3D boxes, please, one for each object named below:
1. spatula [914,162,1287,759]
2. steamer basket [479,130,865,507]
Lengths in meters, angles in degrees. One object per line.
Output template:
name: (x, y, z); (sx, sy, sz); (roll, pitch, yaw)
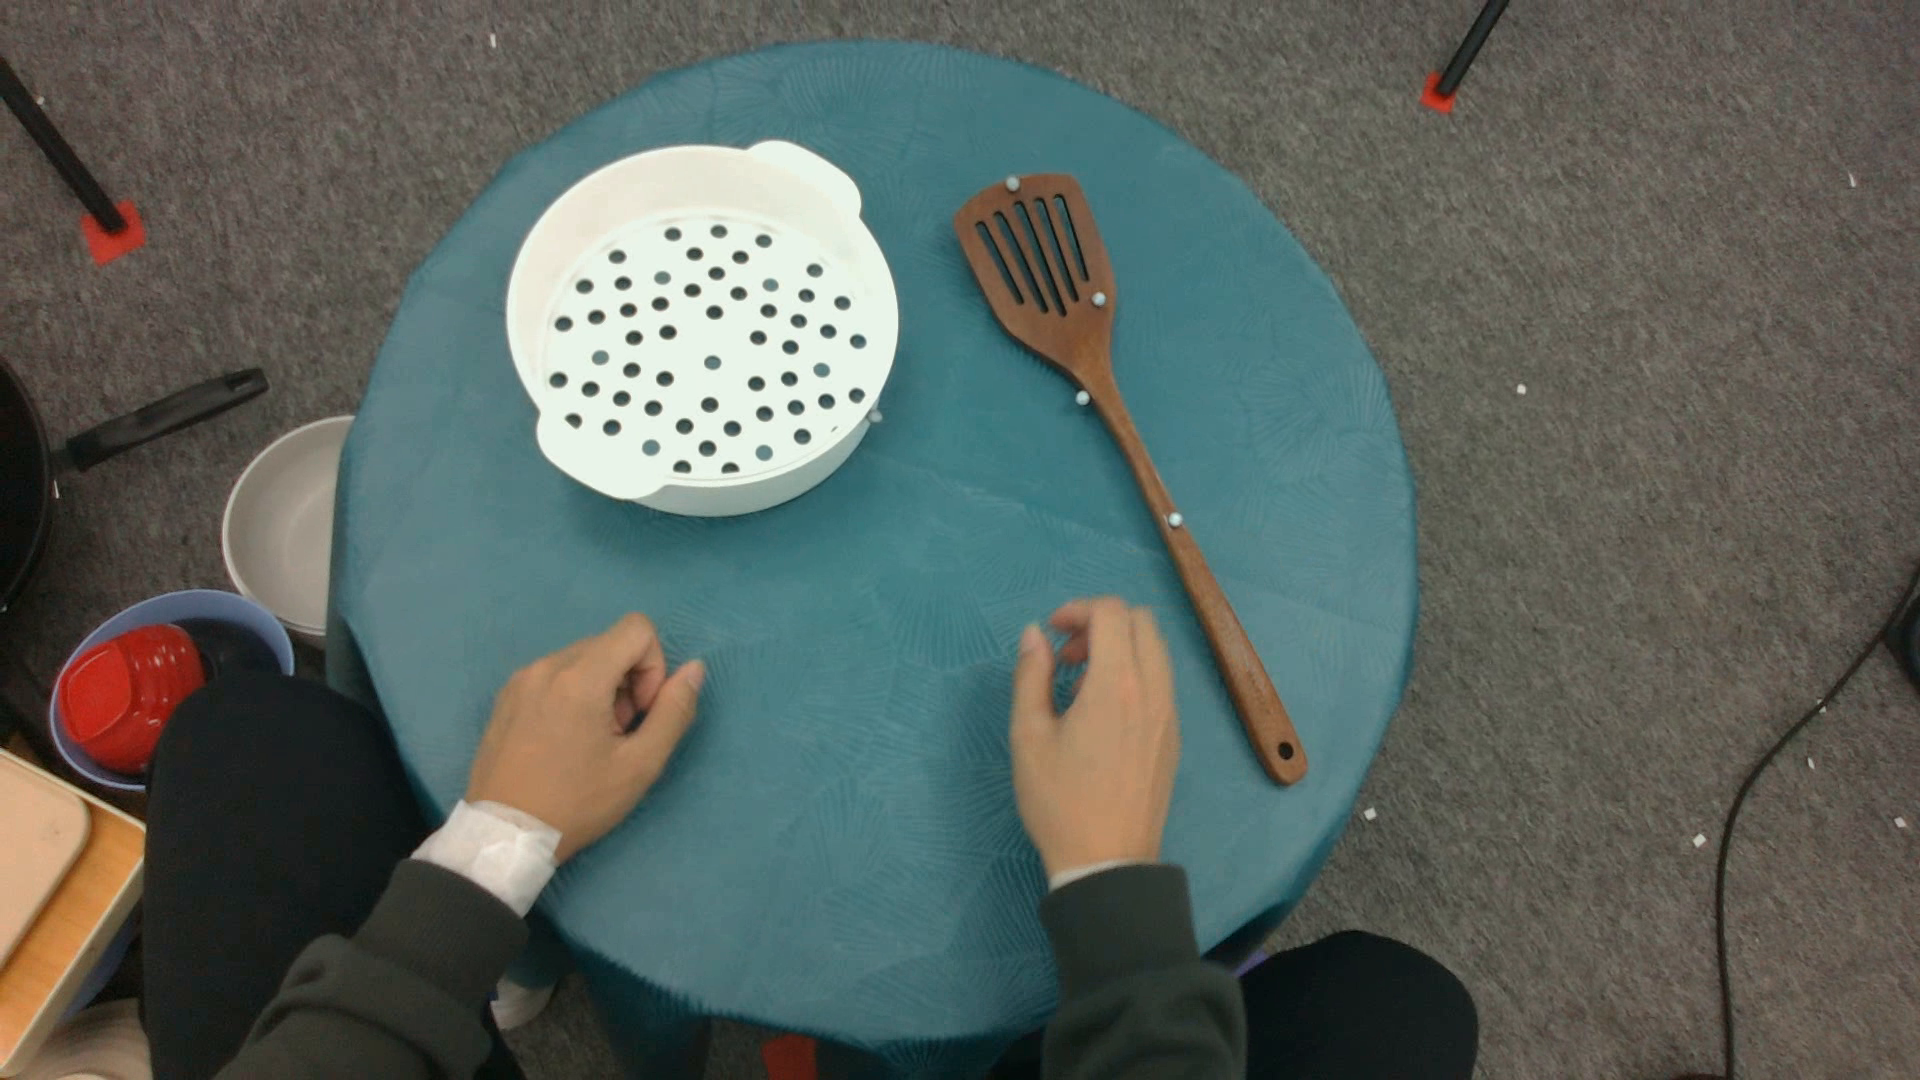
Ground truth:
spatula: (0.088, -0.051, 0.790); (0.086, 0.023, 0.386); (-23, 75, -13)
steamer basket: (-0.154, -0.116, 0.755); (0.202, 0.069, 0.231); (28, 71, 4)
